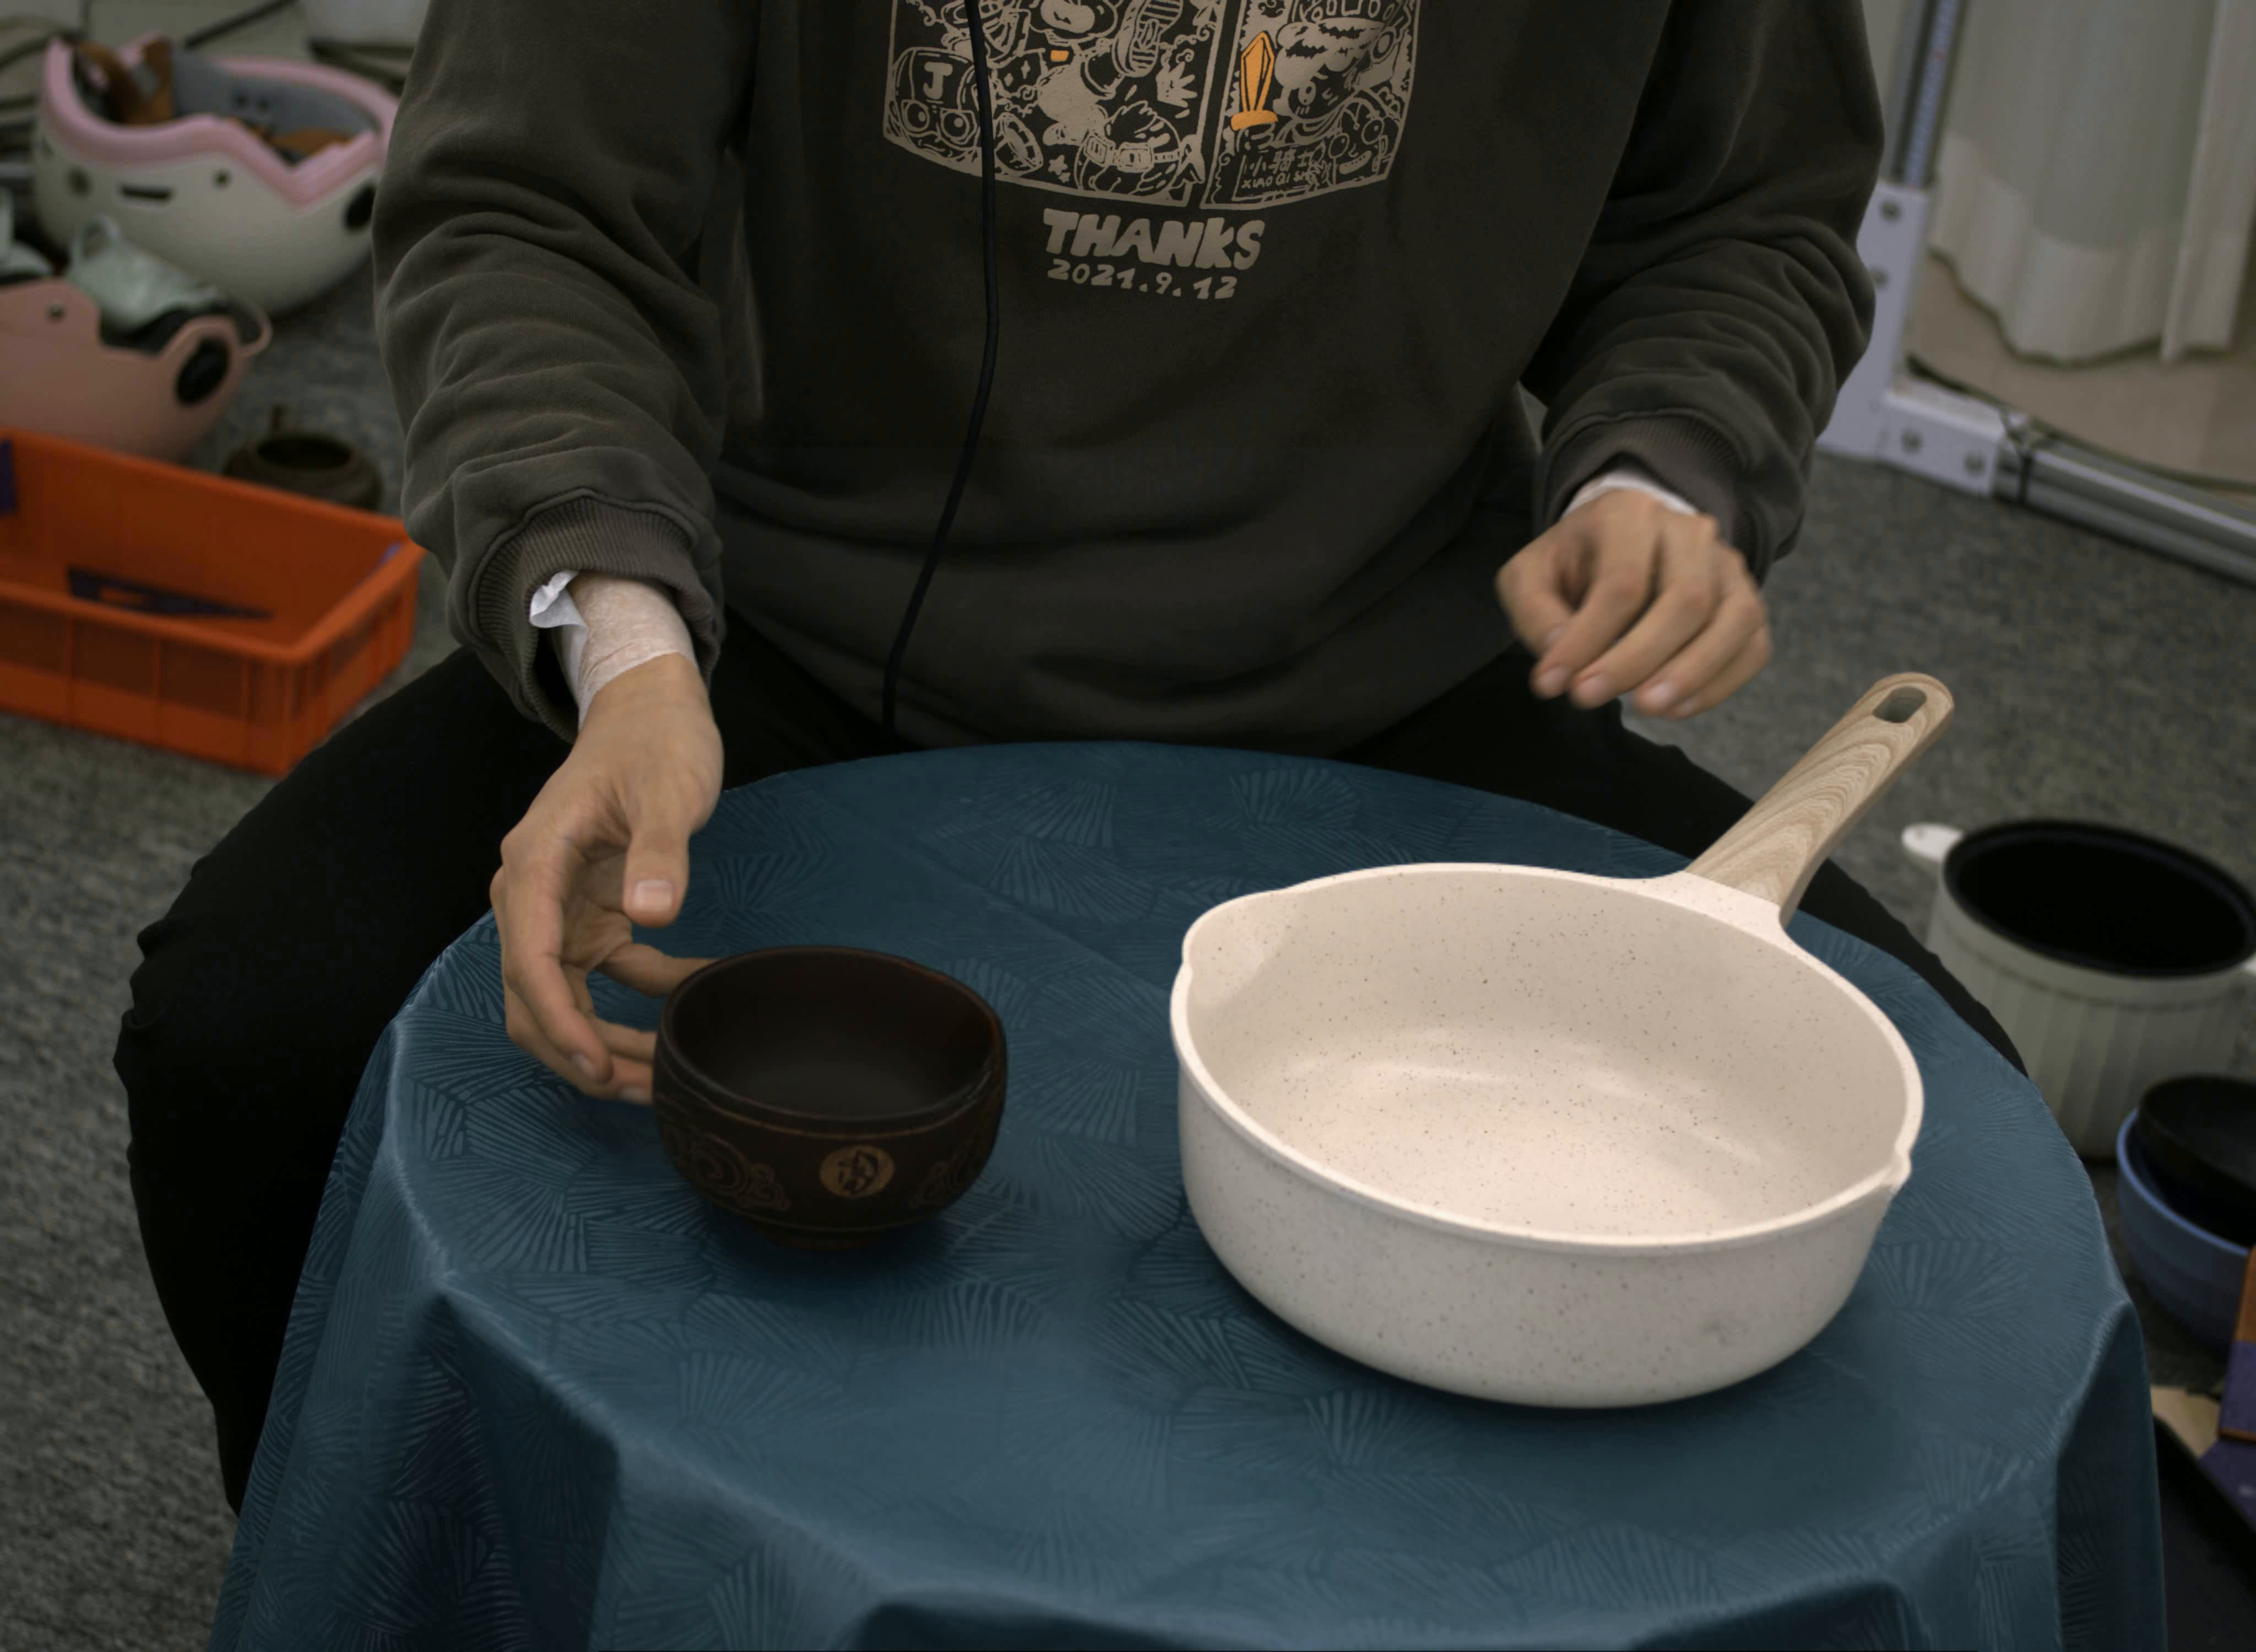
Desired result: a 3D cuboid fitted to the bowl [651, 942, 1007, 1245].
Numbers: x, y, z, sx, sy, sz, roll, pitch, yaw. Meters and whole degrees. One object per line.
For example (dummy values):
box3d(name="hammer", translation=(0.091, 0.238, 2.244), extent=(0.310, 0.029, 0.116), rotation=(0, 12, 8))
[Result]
box3d(name="bowl", translation=(-0.100, 0.095, 1.759), extent=(0.117, 0.069, 0.119), rotation=(4, 25, -2))

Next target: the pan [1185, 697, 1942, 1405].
box3d(name="pan", translation=(0.186, 0.070, 1.843), extent=(0.264, 0.101, 0.434), rotation=(18, 28, 25))
